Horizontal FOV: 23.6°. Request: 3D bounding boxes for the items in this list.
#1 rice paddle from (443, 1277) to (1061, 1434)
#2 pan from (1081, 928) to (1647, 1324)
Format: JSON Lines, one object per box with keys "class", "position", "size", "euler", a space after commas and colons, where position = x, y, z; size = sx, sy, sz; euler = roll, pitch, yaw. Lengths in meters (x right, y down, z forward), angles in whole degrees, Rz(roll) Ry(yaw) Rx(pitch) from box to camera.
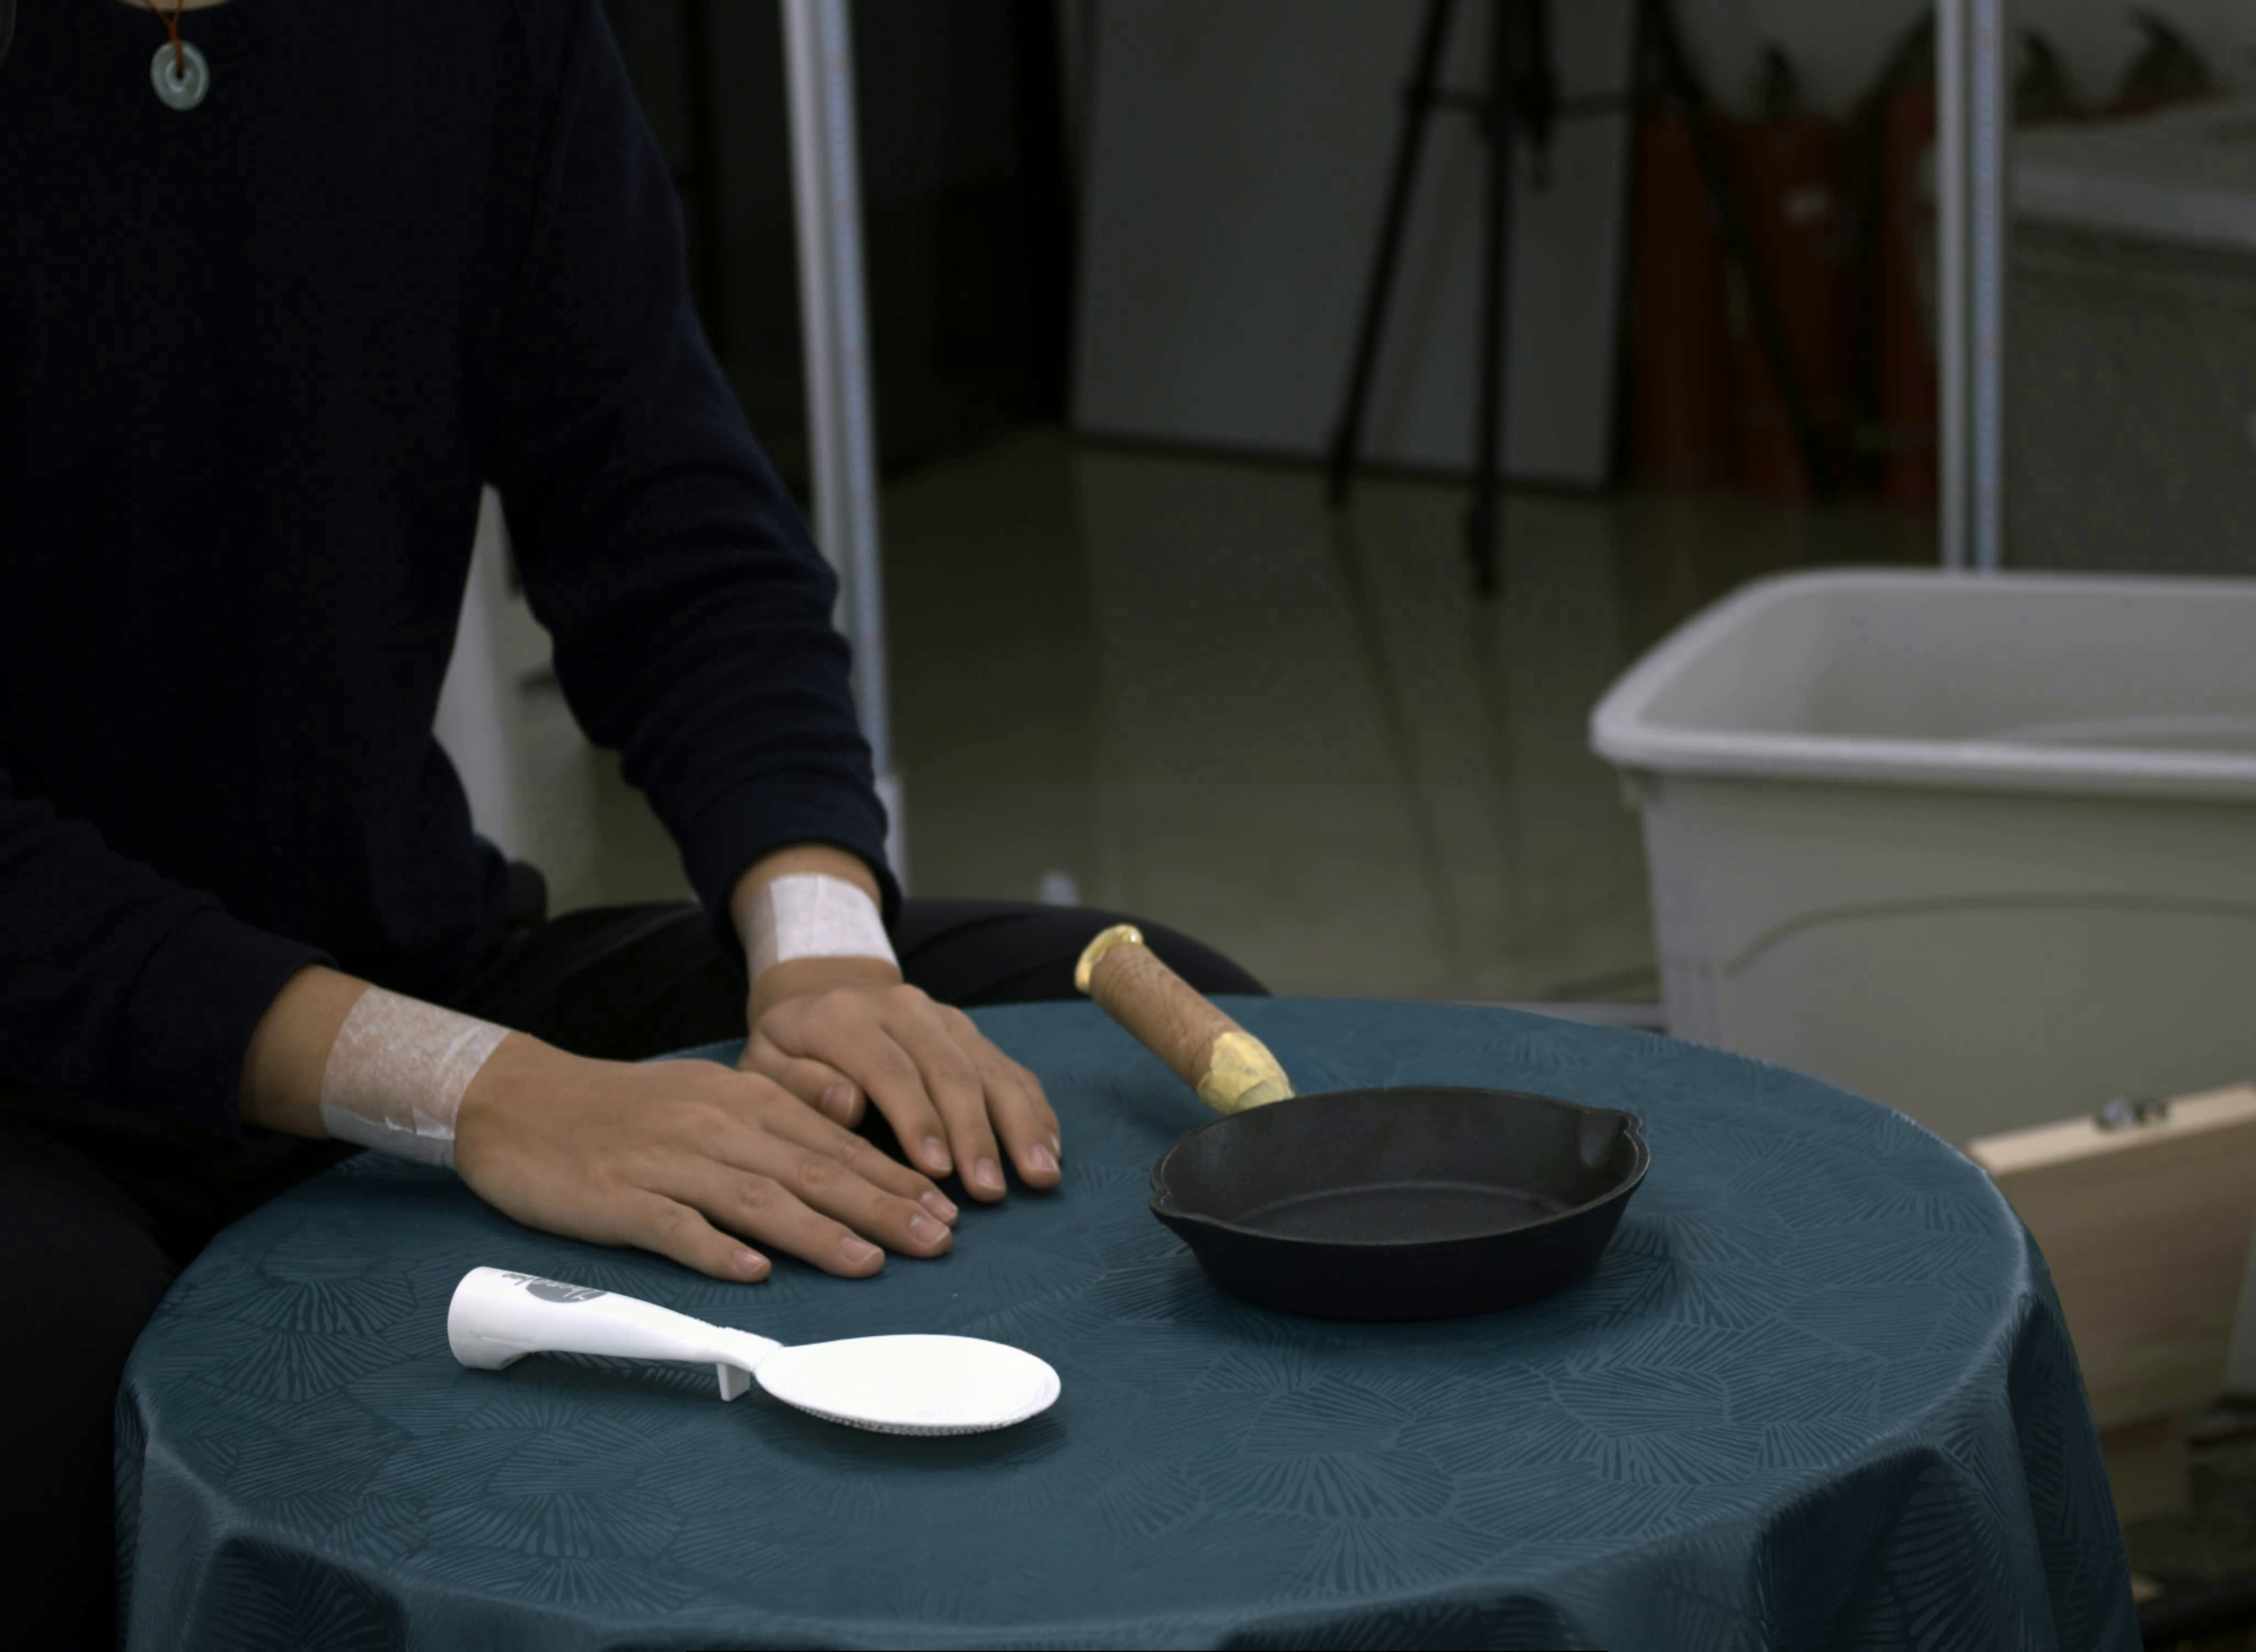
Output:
{"class": "rice paddle", "position": [-0.111, 0.157, 1.599], "size": [0.206, 0.030, 0.068], "euler": [3, 17, 30]}
{"class": "pan", "position": [0.054, 0.094, 1.759], "size": [0.165, 0.050, 0.327], "euler": [-9, 16, -19]}
